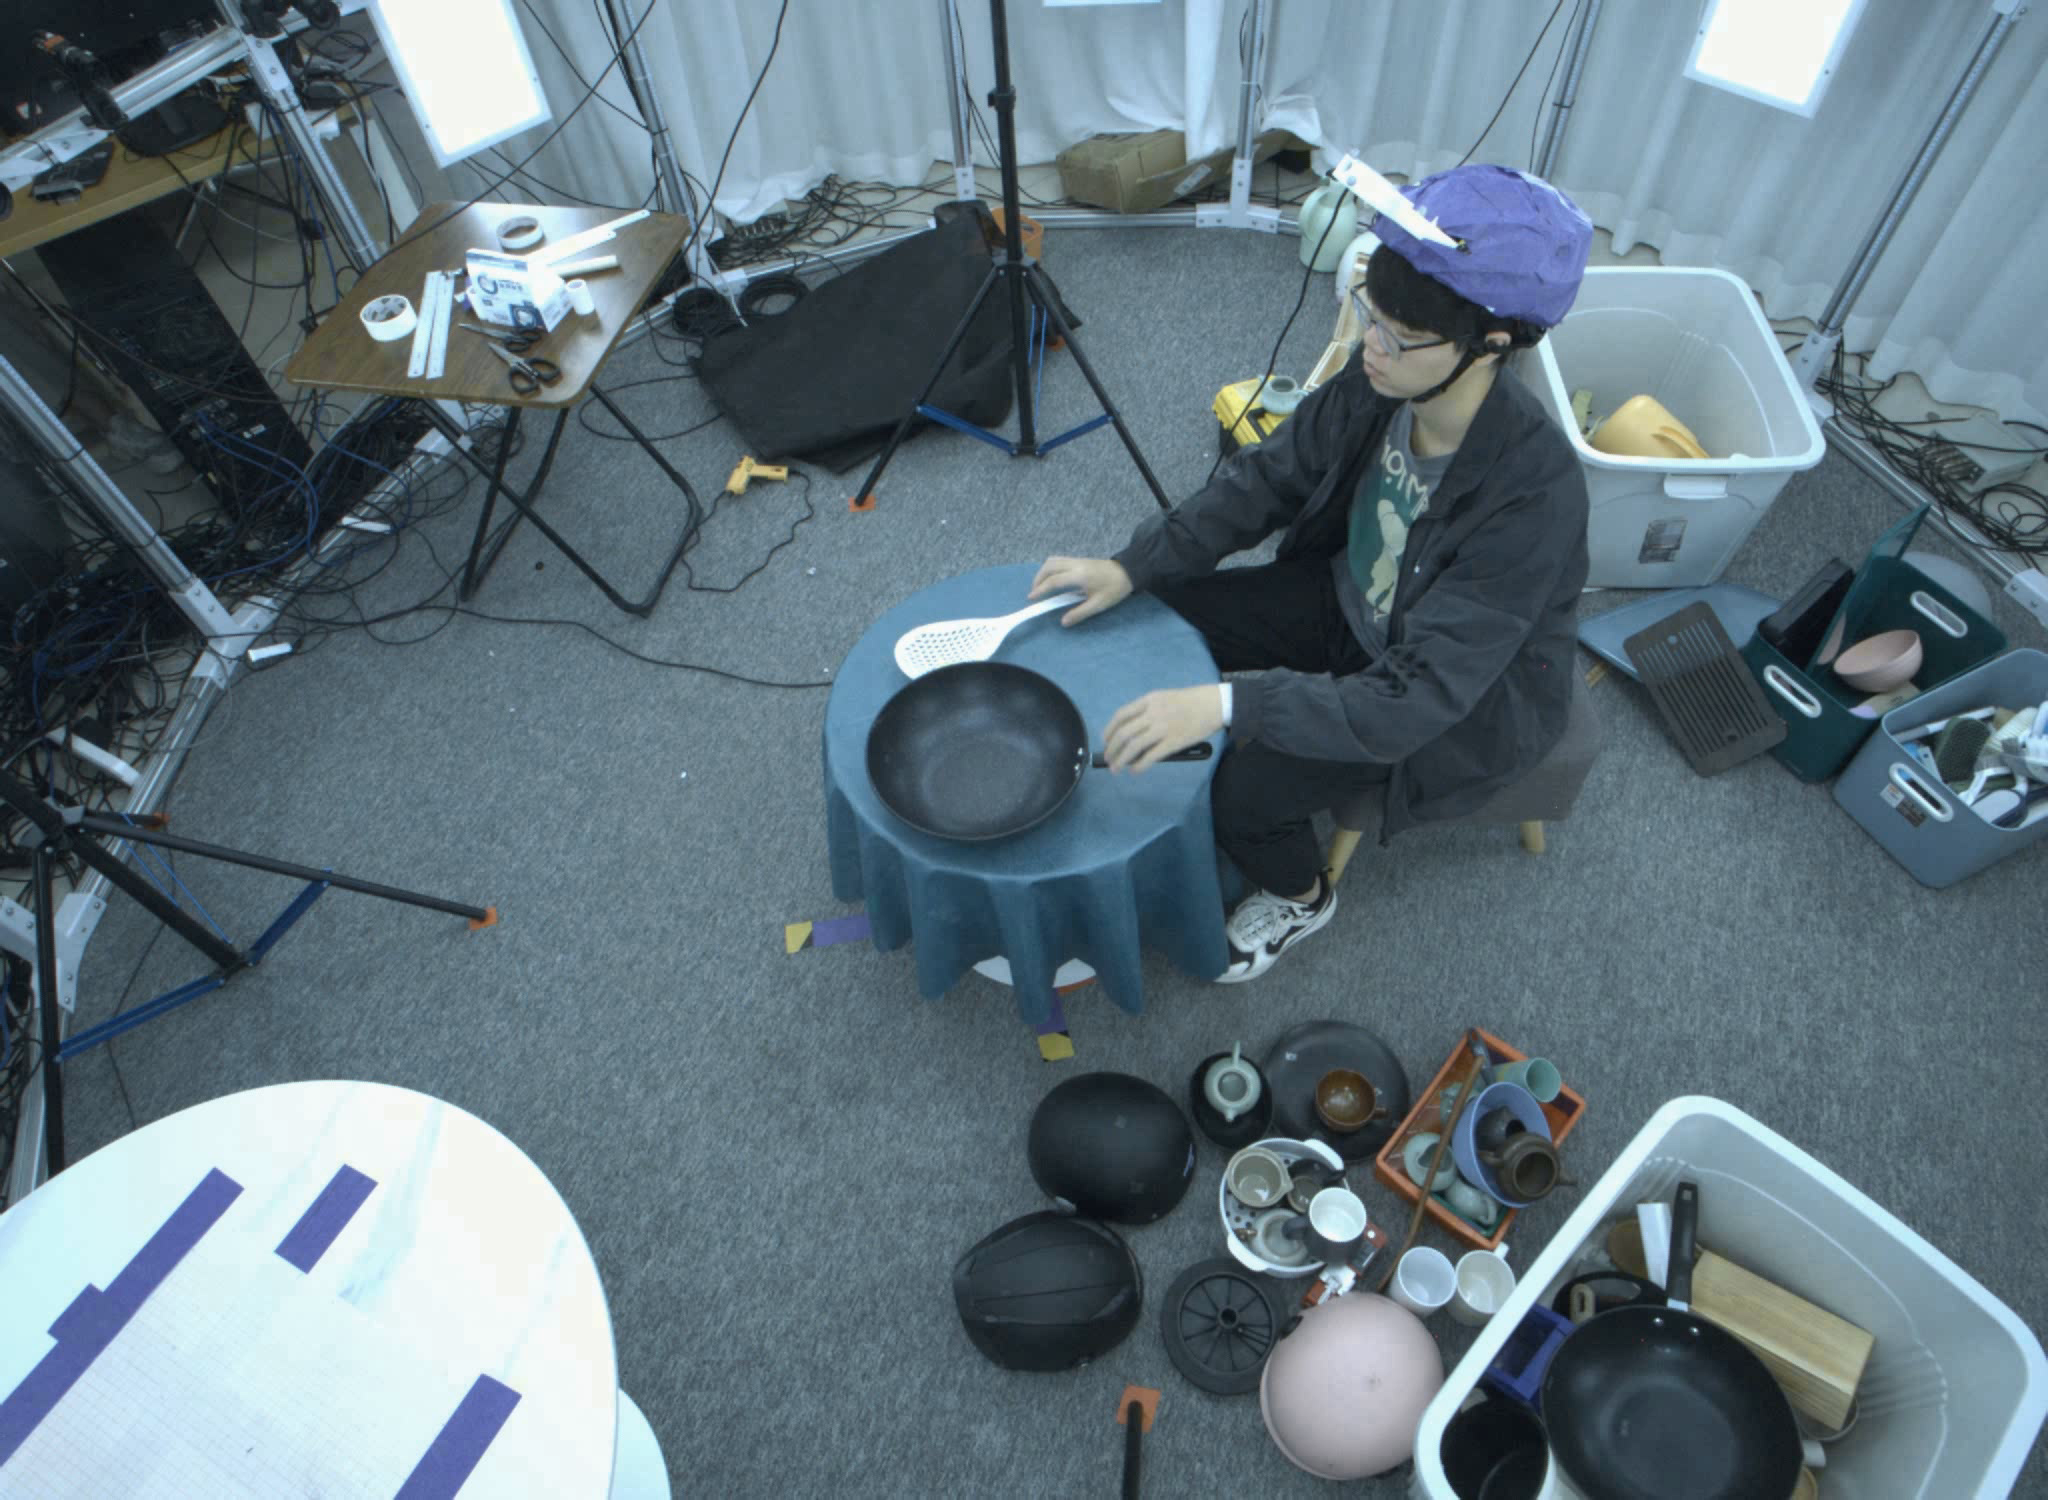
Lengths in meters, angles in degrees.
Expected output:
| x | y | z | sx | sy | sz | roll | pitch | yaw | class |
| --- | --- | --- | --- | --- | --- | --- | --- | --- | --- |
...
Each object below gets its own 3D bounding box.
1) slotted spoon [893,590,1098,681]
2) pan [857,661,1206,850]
| x | y | z | sx | sy | sz | roll | pitch | yaw | class |
| --- | --- | --- | --- | --- | --- | --- | --- | --- | --- |
| -0.033 | -0.185 | 1.887 | 0.351 | 0.051 | 0.134 | -27 | 50 | -17 | slotted spoon |
| 0.010 | 0.018 | 1.701 | 0.475 | 0.113 | 0.308 | 3 | 56 | 5 | pan |
